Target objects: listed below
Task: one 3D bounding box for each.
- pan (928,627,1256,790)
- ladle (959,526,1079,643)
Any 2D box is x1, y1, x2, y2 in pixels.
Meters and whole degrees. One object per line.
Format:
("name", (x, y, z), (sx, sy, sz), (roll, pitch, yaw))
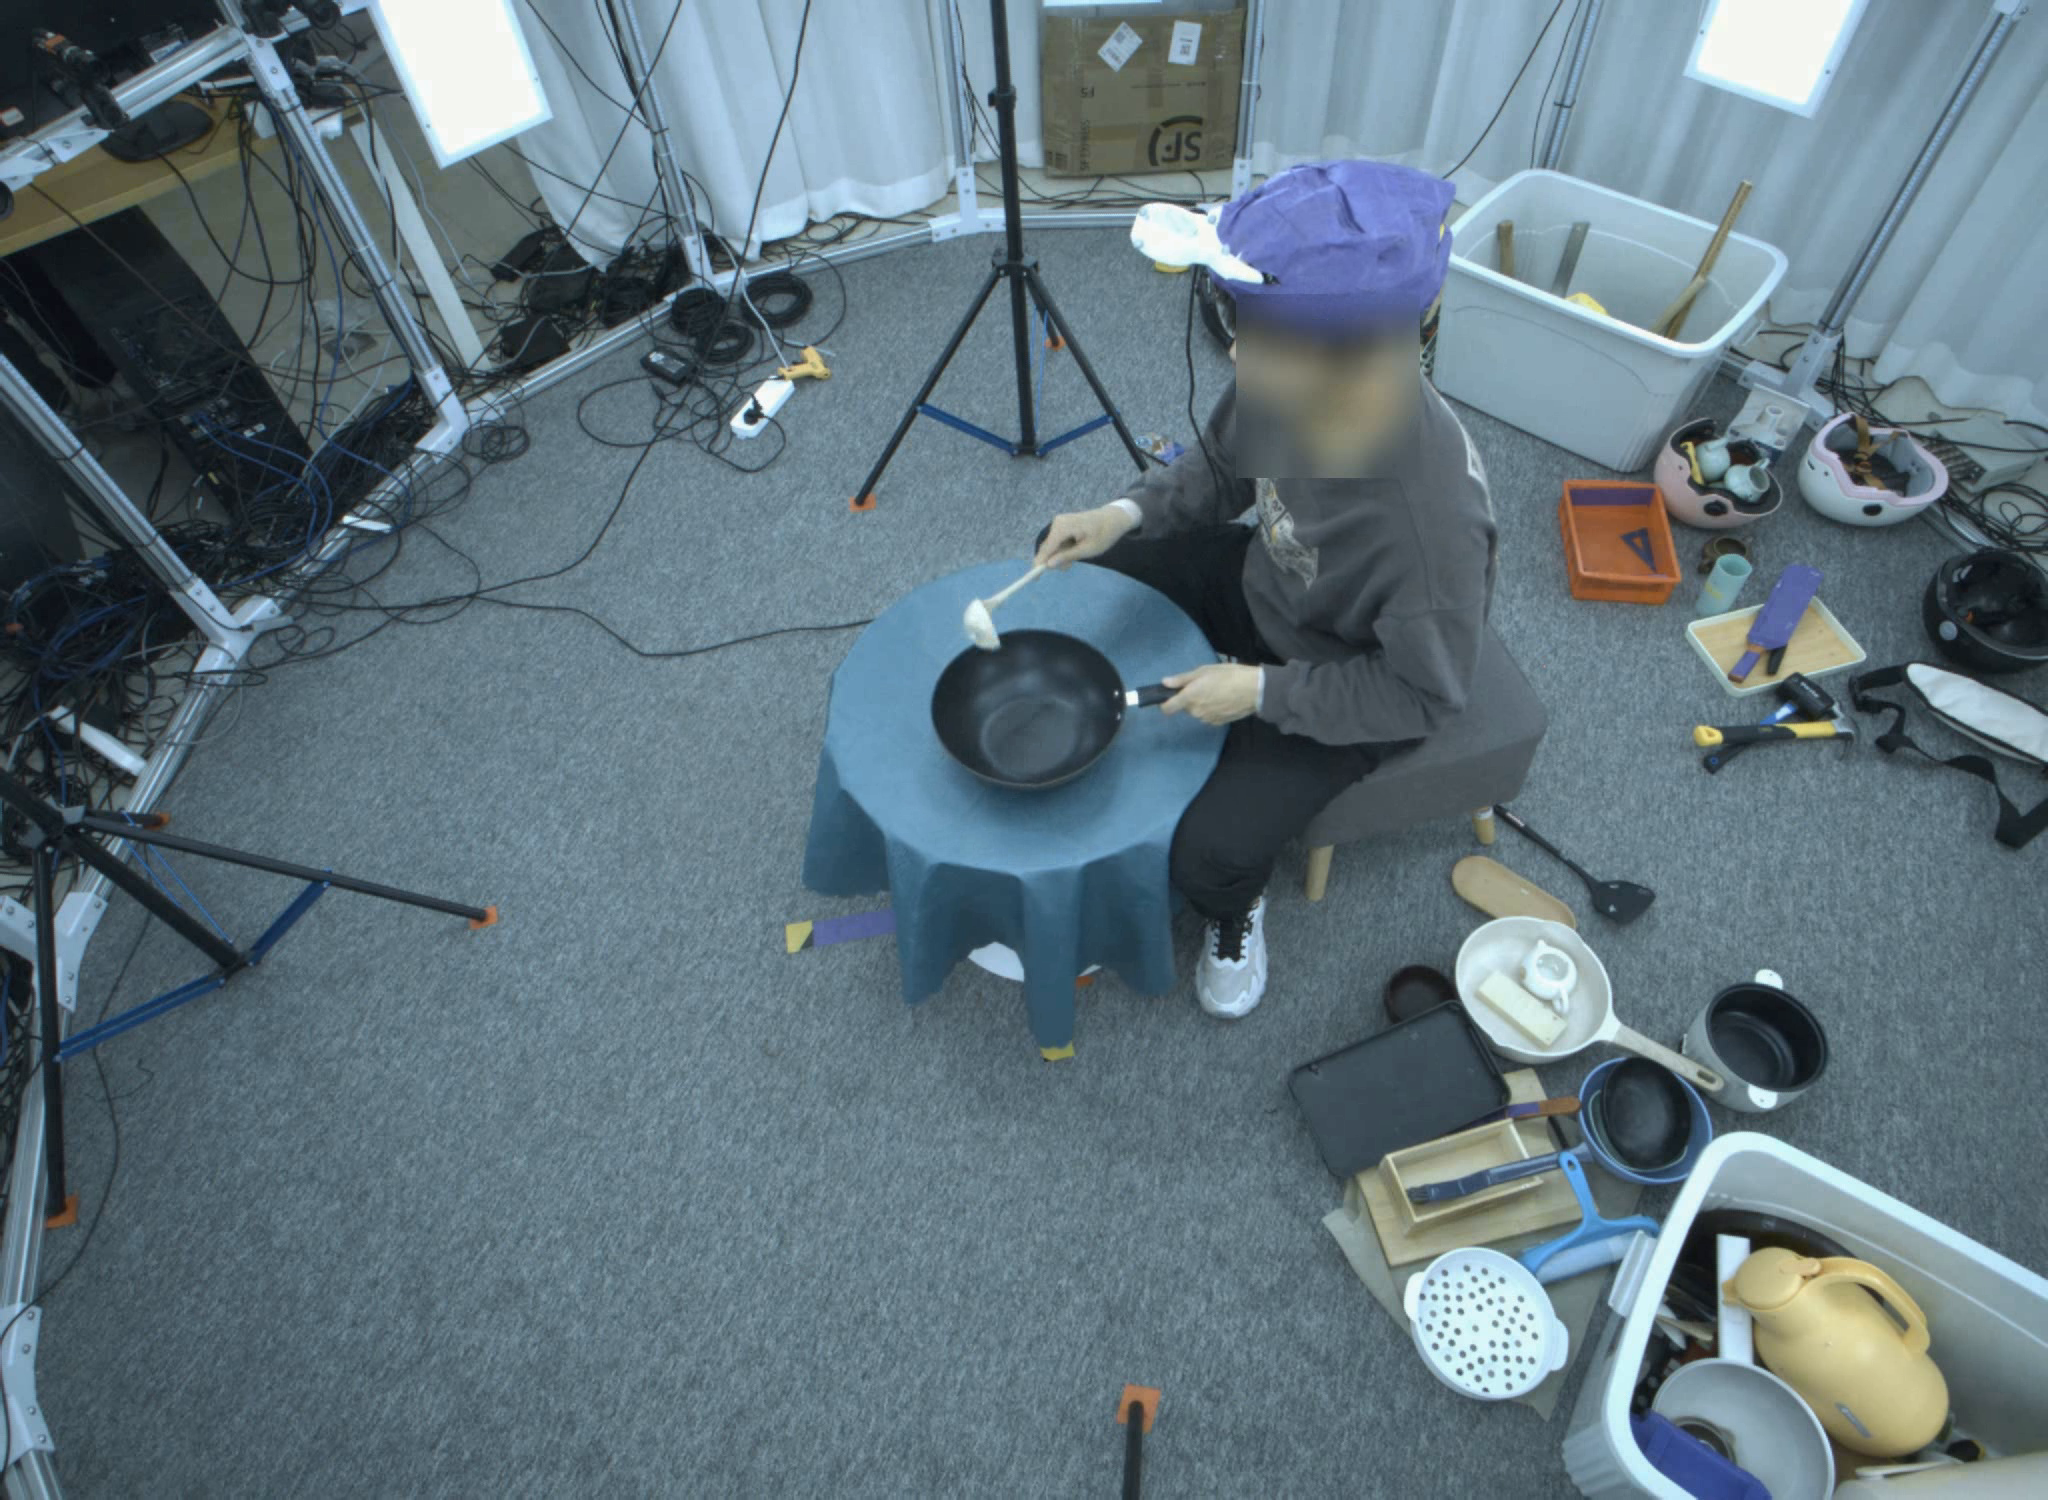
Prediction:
("pan", (0.097, -0.054, 1.769), (0.464, 0.088, 0.284), (-4, 54, -2))
("ladle", (0.012, -0.243, 1.738), (0.256, 0.073, 0.071), (-42, 35, -23))
